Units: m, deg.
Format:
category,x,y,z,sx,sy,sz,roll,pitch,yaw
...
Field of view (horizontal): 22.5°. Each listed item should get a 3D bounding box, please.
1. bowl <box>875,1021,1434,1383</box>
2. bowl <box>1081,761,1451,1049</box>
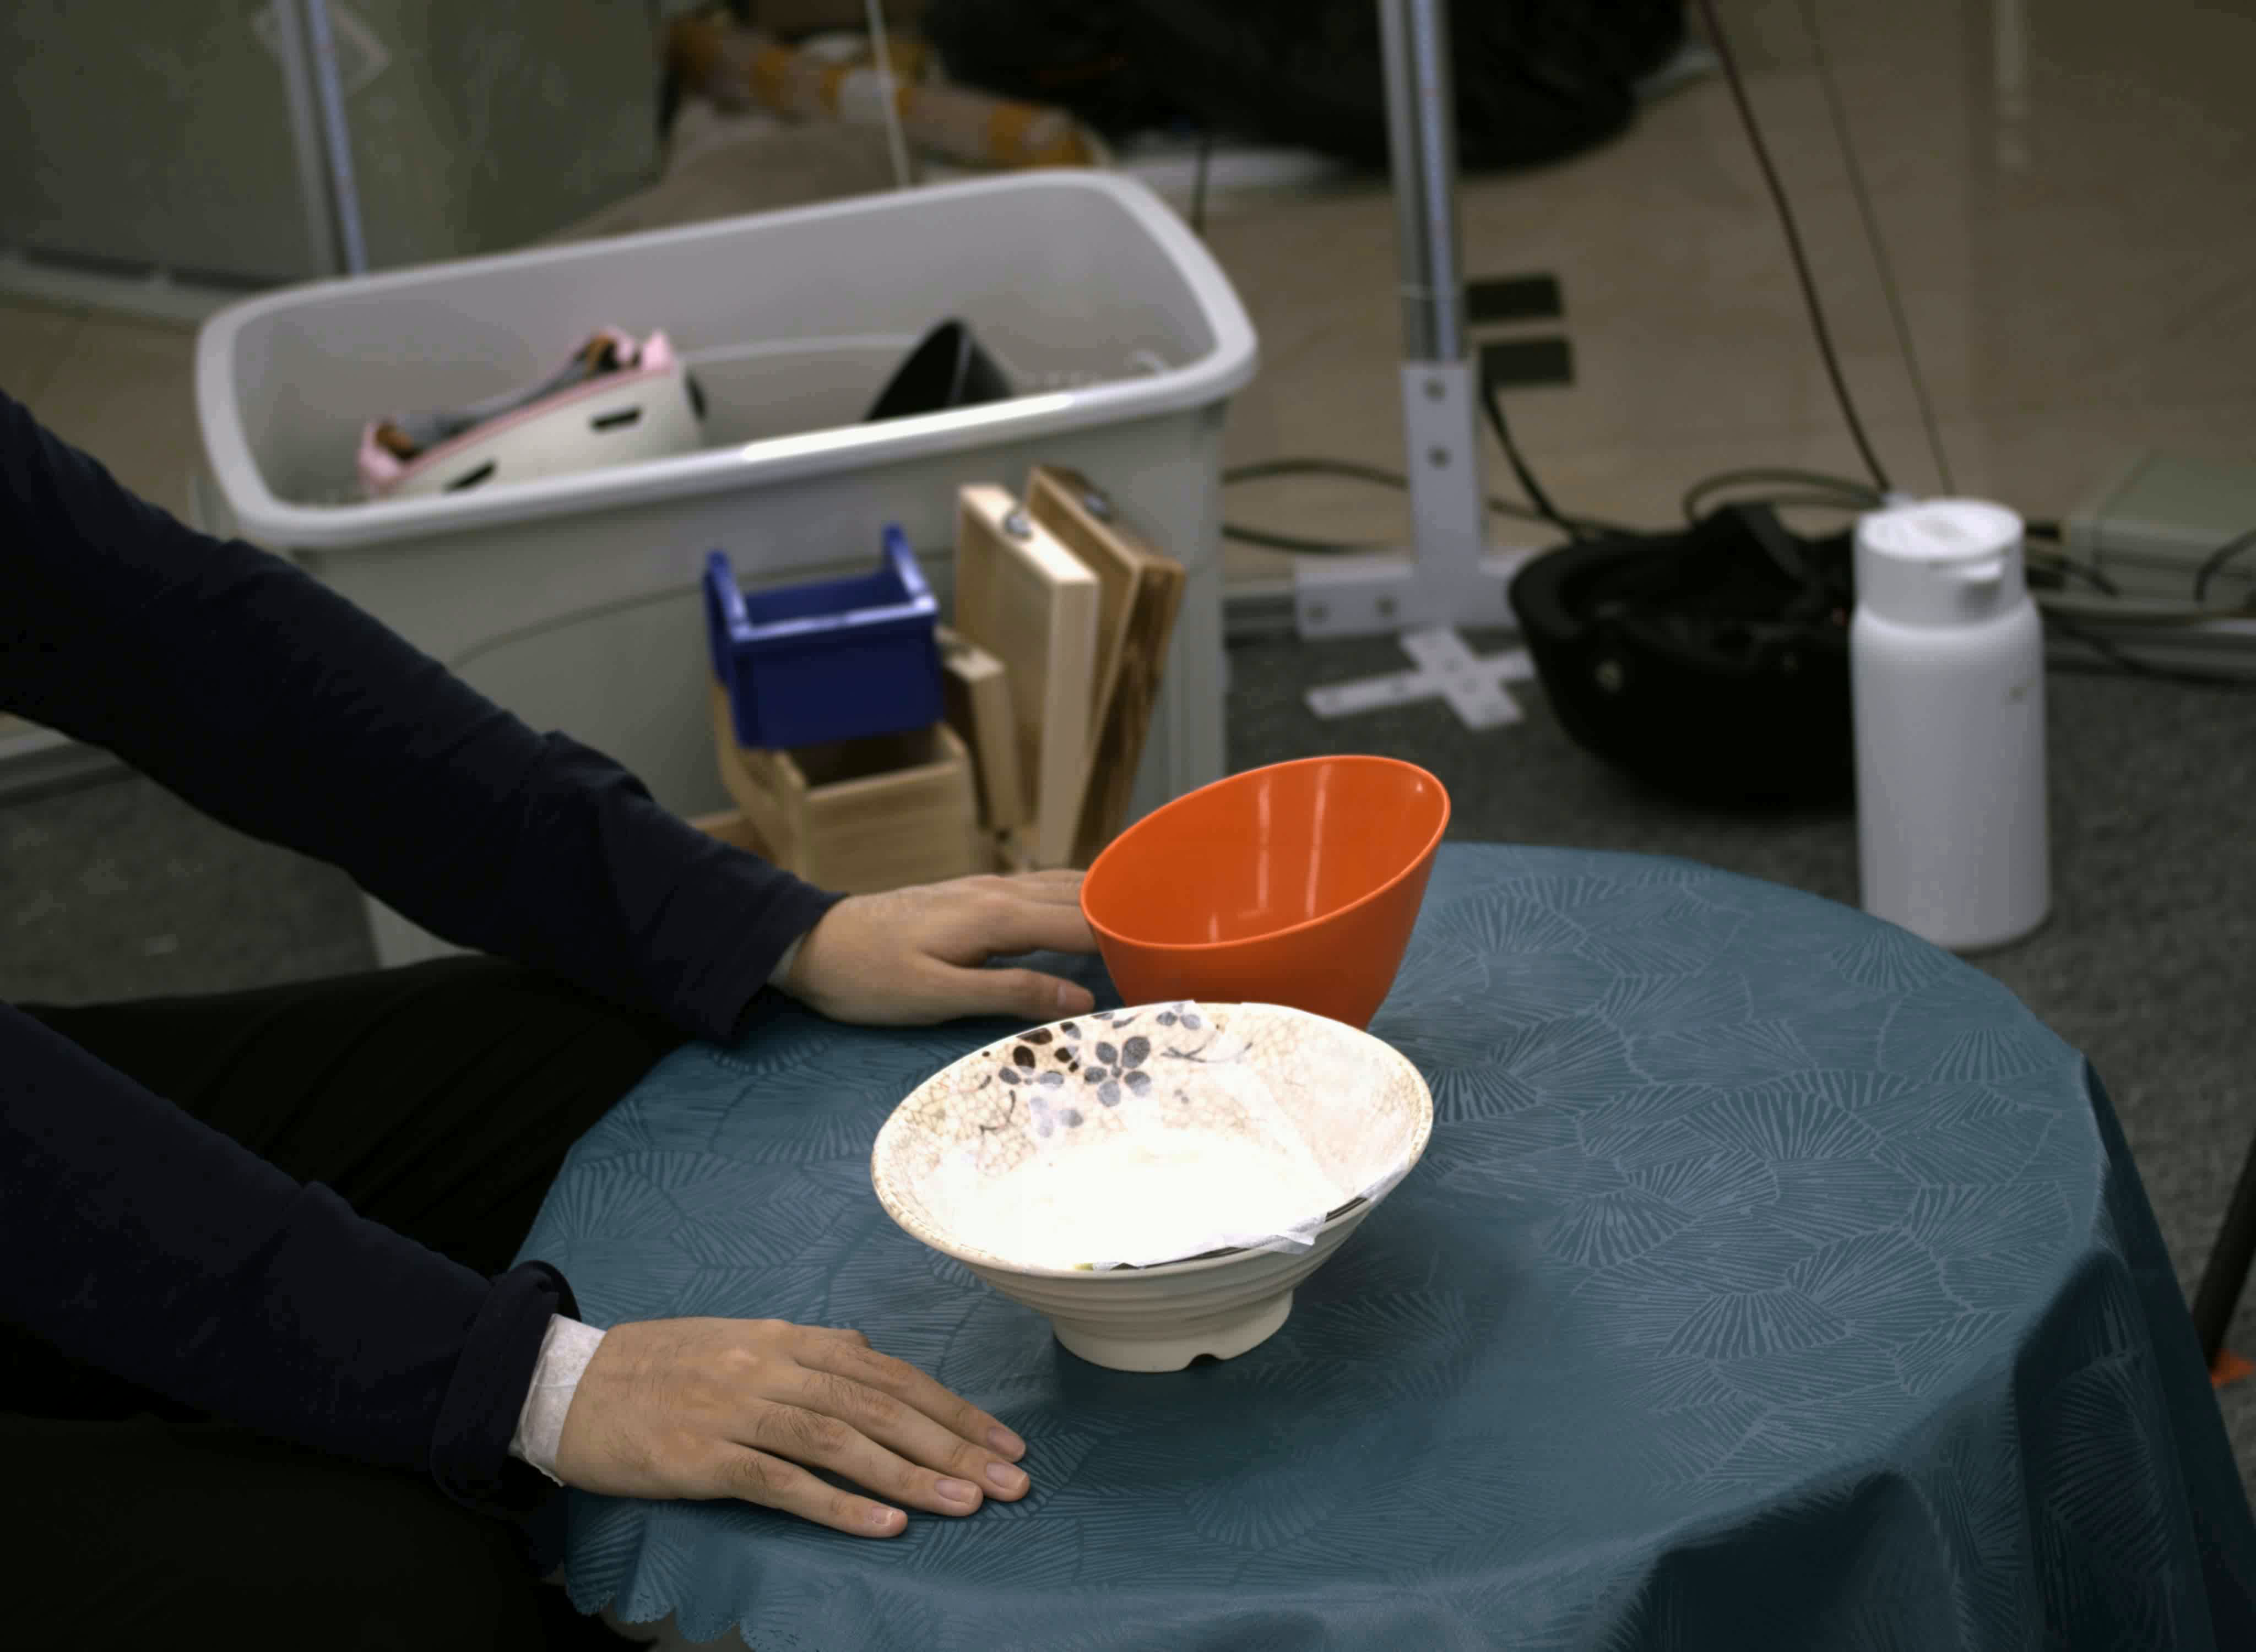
category,x,y,z,sx,sy,sz,roll,pitch,yaw
bowl,0.015,0.147,2.047,0.204,0.079,0.201,-9,22,4
bowl,0.059,0.048,2.214,0.148,0.106,0.146,-7,25,3
